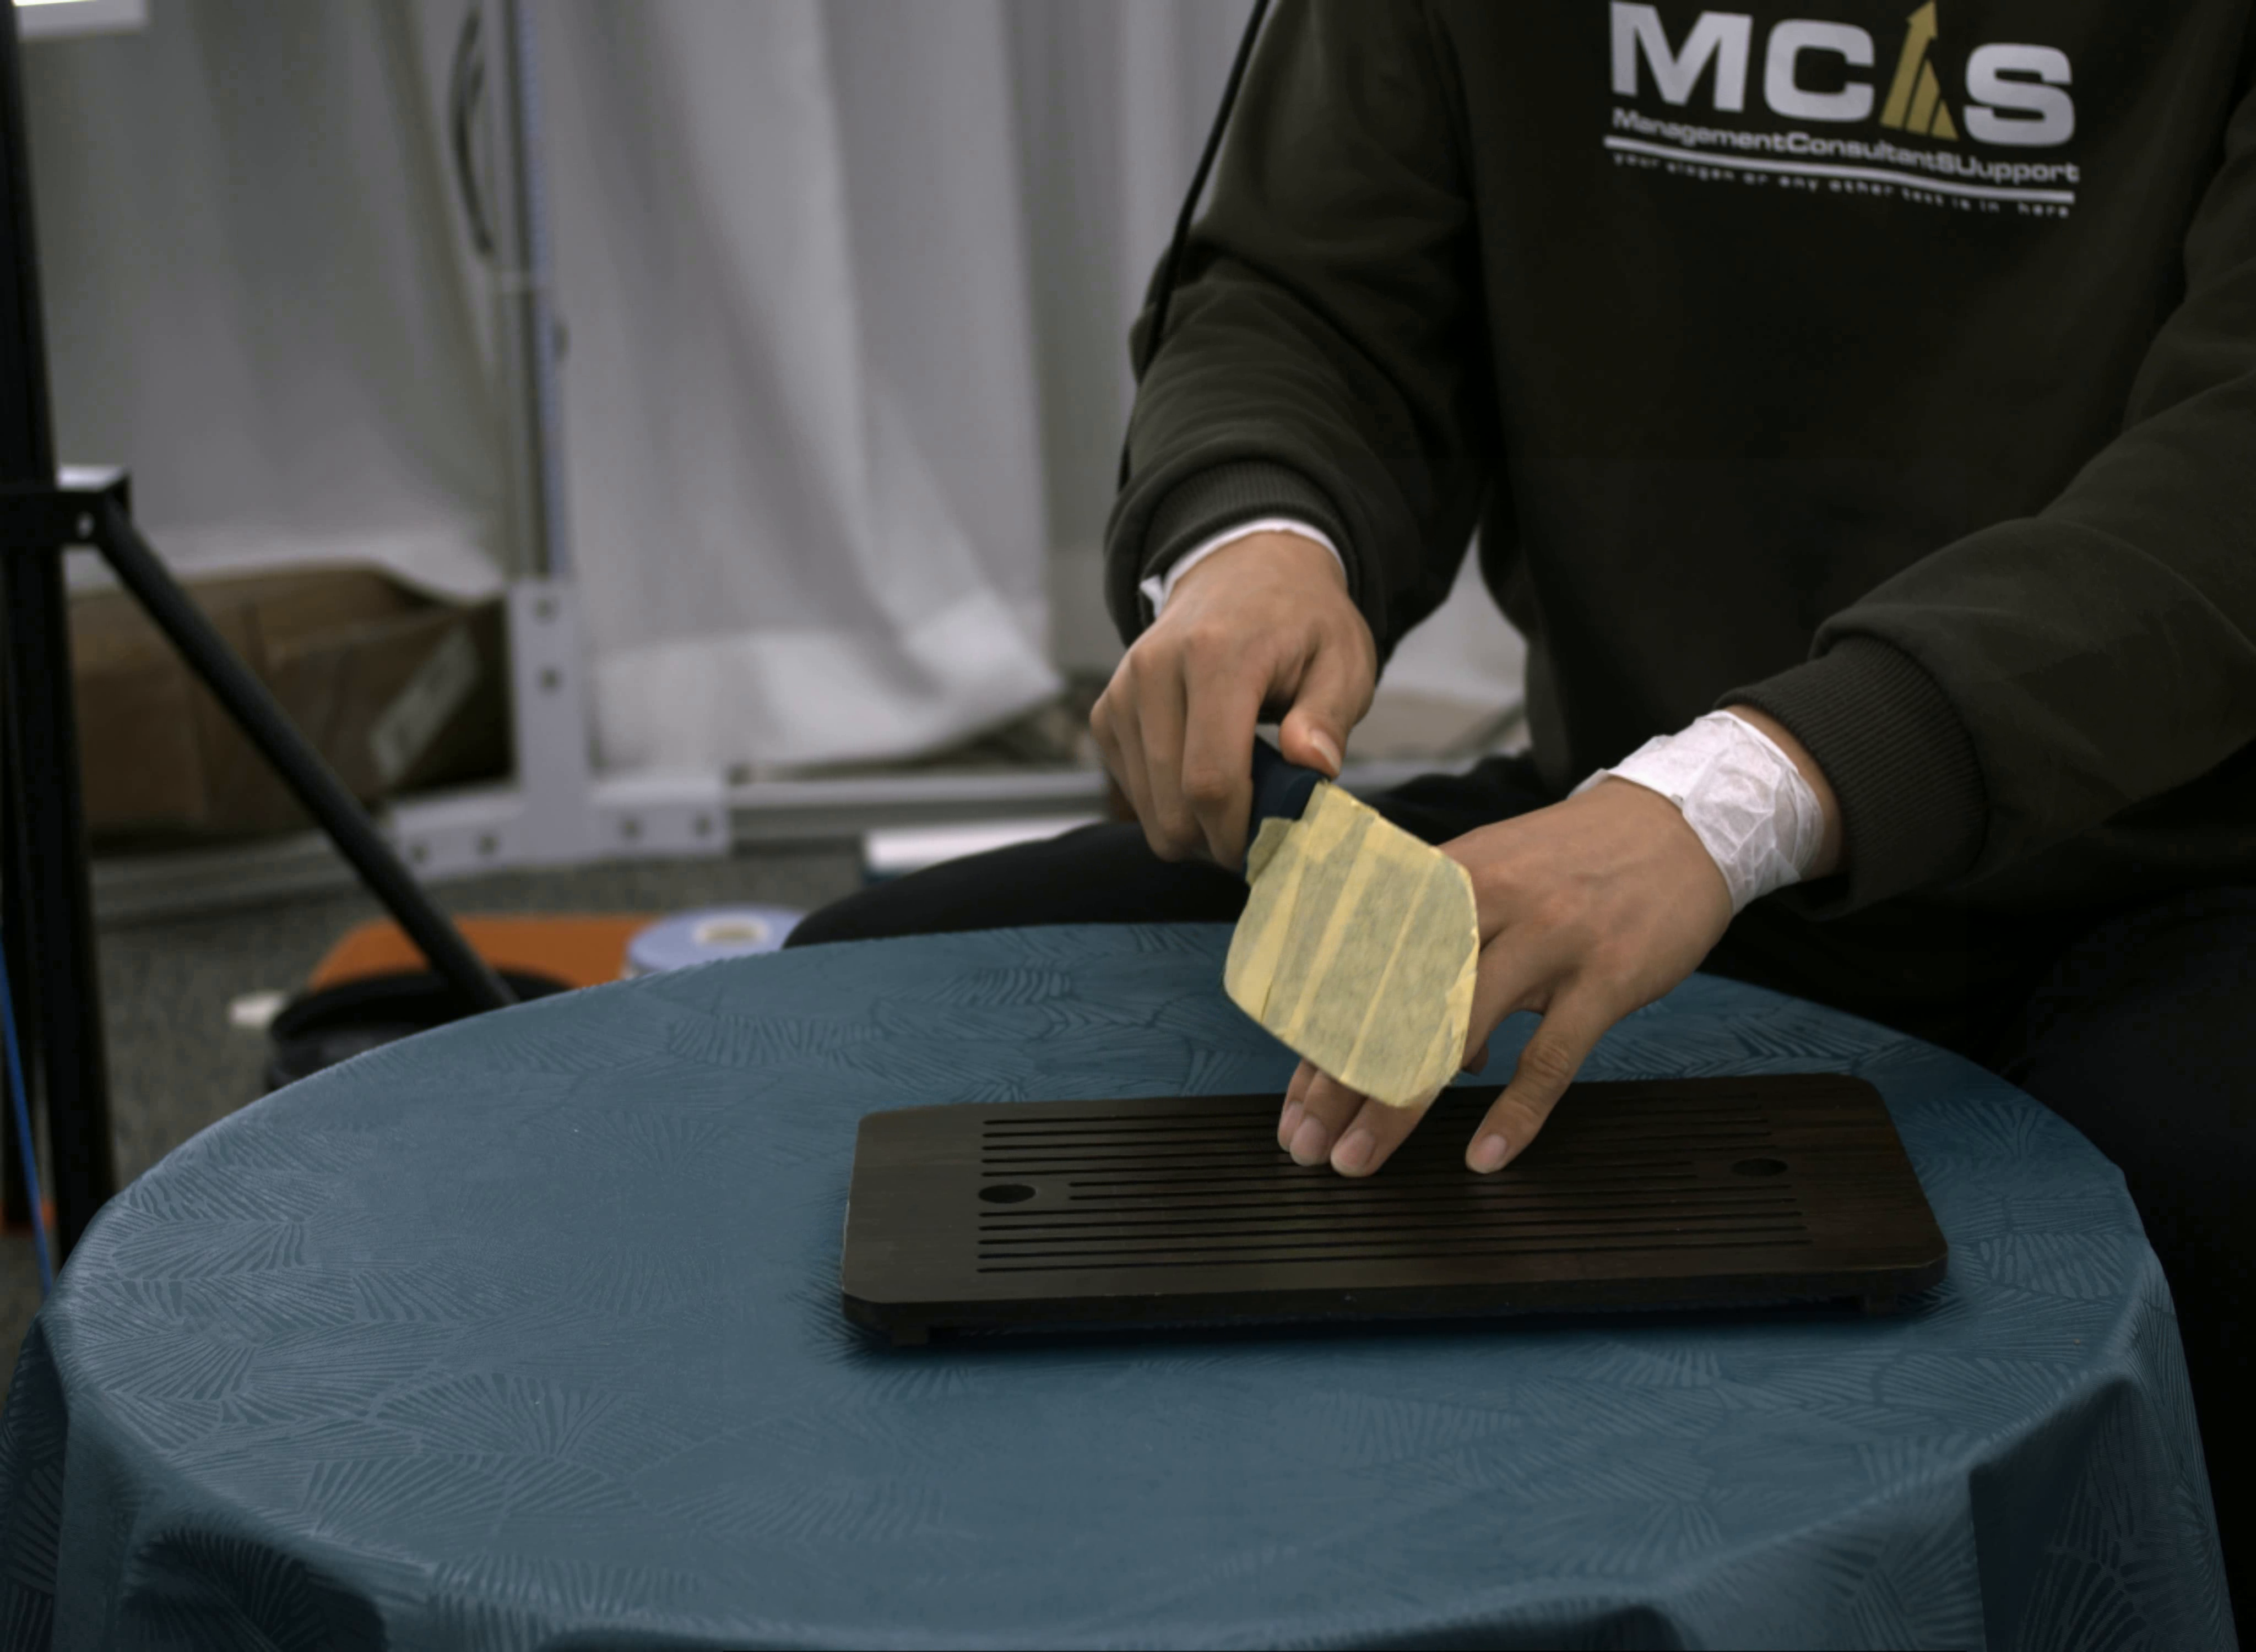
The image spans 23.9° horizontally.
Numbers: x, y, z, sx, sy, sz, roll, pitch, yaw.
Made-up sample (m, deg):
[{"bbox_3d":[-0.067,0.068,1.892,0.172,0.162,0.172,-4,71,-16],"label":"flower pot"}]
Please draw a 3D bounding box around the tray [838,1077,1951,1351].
[{"bbox_3d":[0.073,0.110,1.509,0.305,0.018,0.170,-2,15,2],"label":"tray"}]

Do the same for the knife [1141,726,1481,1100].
[{"bbox_3d":[0.050,0.022,1.586,0.027,0.081,0.294,23,7,-21],"label":"knife"}]
